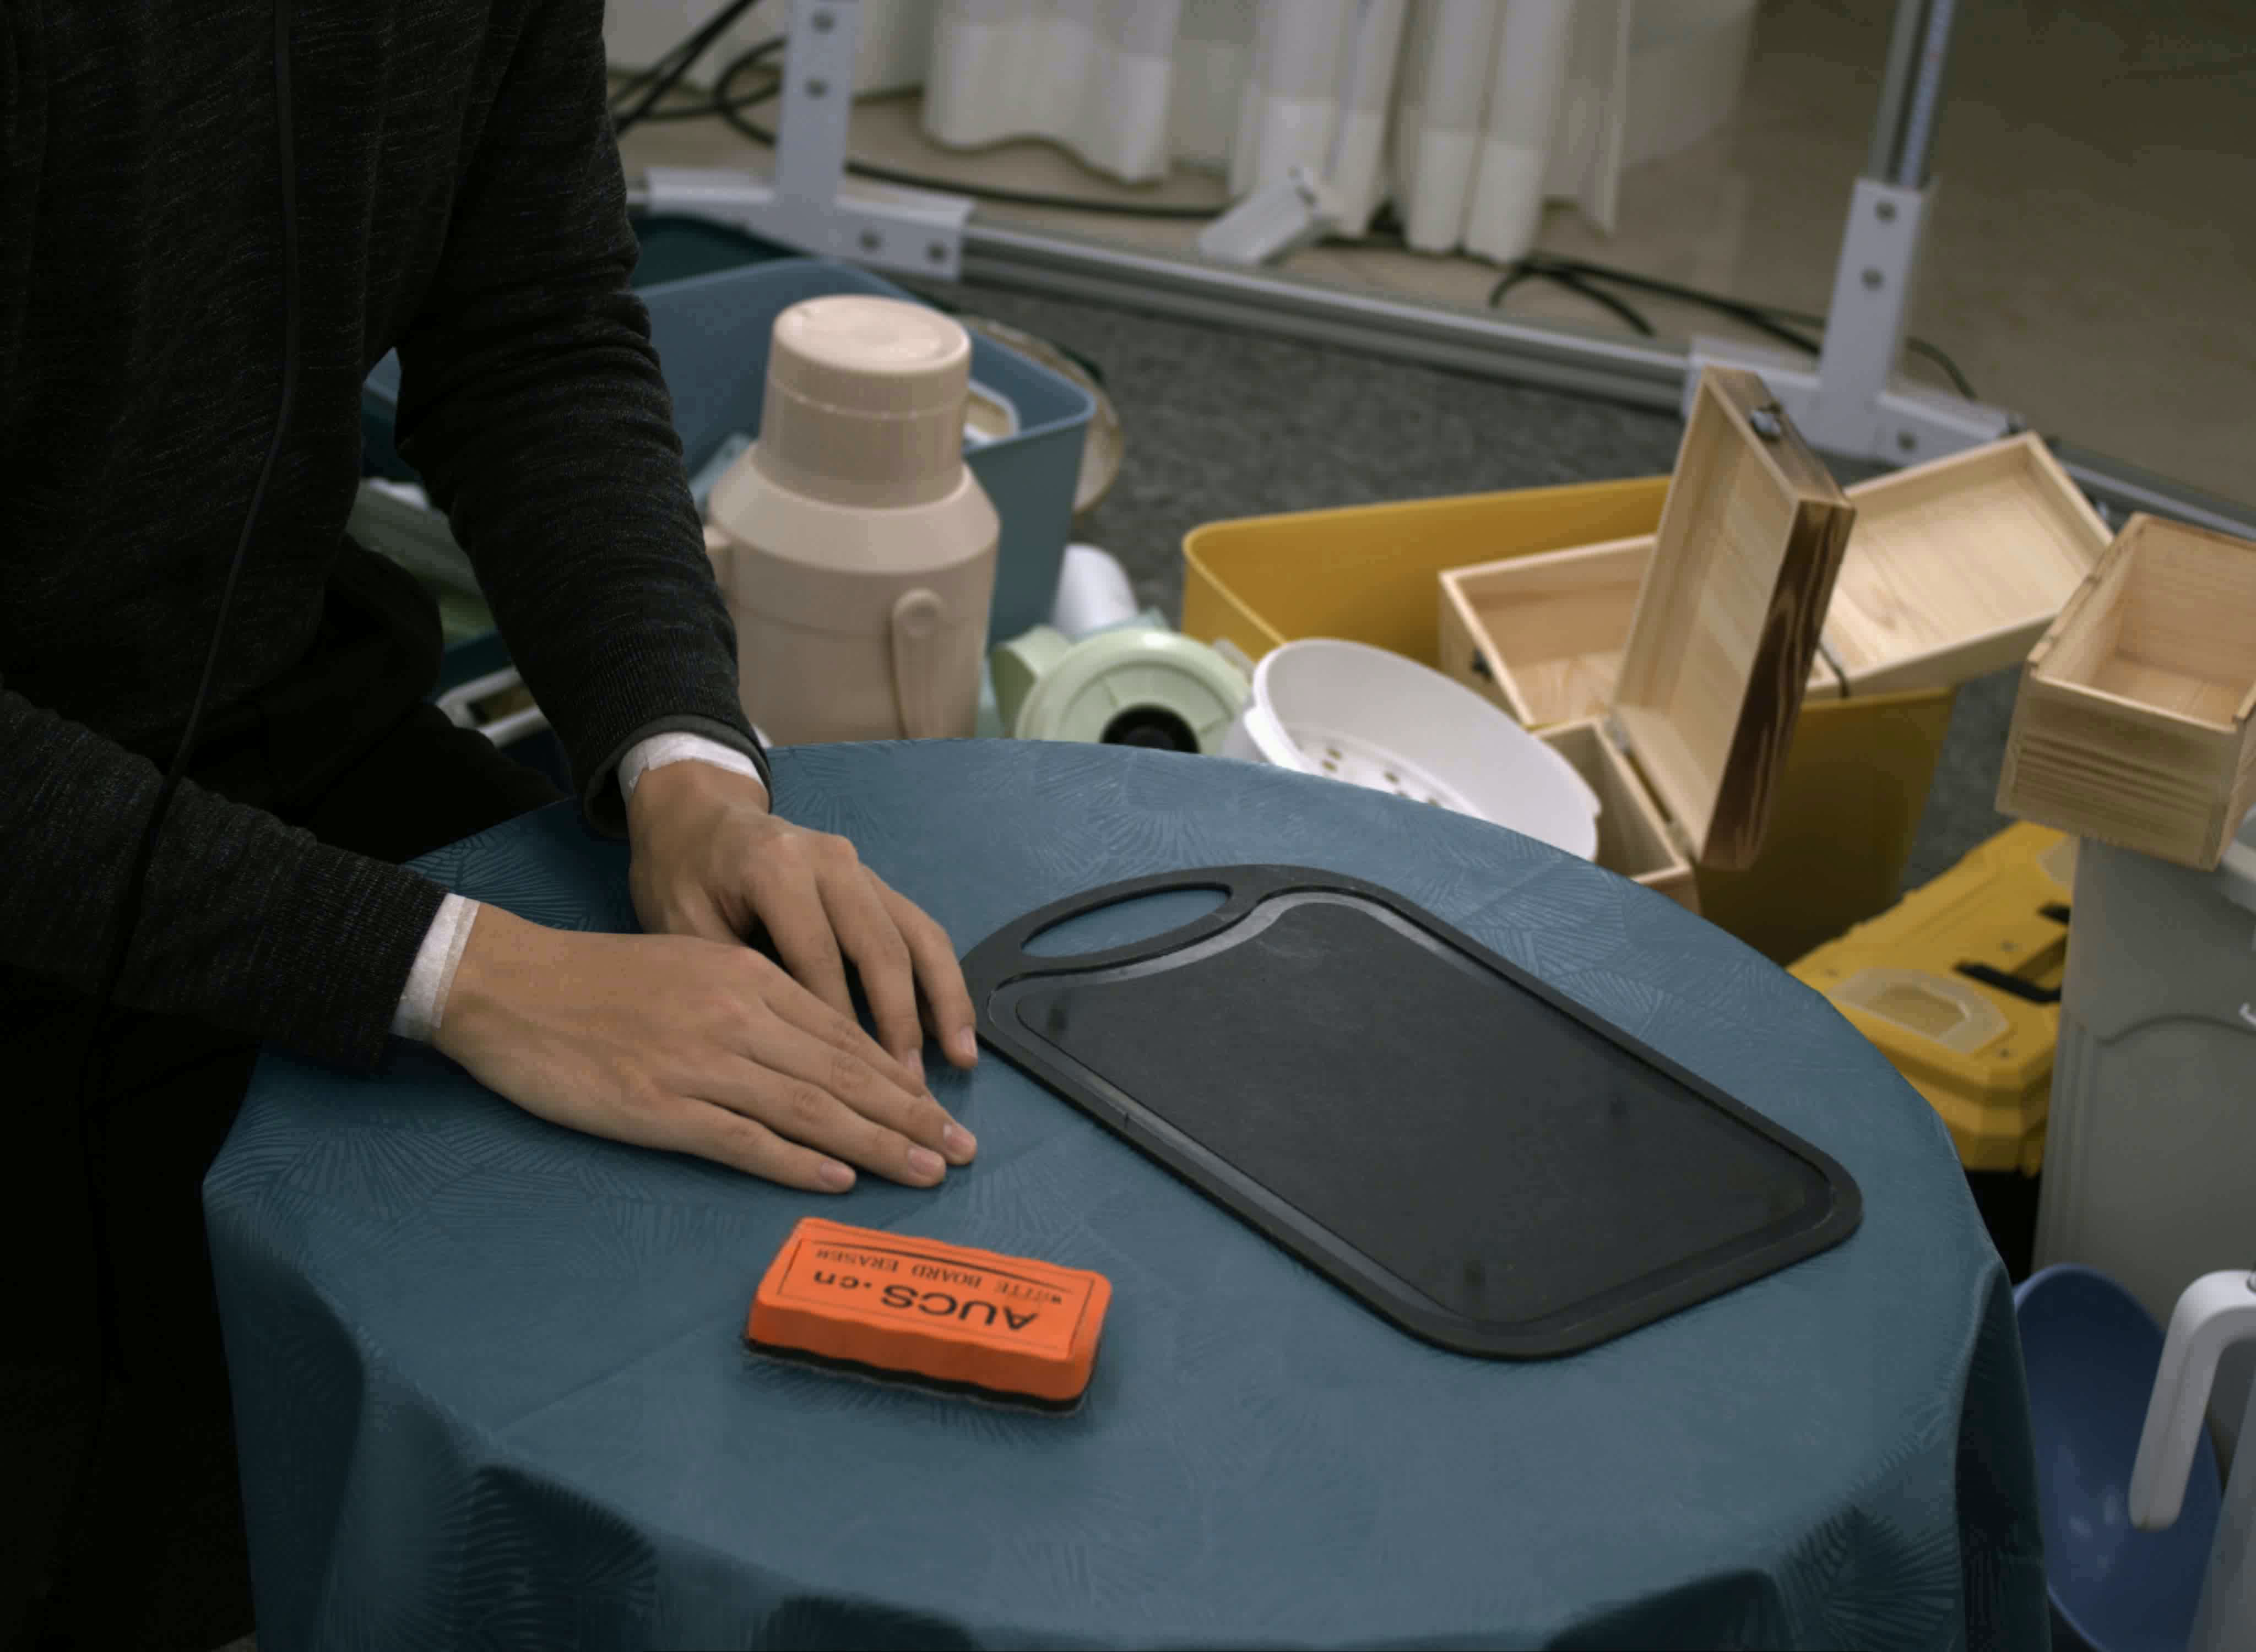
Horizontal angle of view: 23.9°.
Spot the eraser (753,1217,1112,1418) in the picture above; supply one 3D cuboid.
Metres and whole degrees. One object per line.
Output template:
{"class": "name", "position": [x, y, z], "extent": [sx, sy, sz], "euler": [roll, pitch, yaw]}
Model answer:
{"class": "eraser", "position": [-0.062, 0.156, 1.697], "extent": [0.108, 0.023, 0.059], "euler": [11, 25, 9]}

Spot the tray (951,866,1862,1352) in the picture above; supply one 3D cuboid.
{"class": "tray", "position": [0.089, 0.090, 1.880], "extent": [0.210, 0.010, 0.328], "euler": [-16, 34, -37]}
